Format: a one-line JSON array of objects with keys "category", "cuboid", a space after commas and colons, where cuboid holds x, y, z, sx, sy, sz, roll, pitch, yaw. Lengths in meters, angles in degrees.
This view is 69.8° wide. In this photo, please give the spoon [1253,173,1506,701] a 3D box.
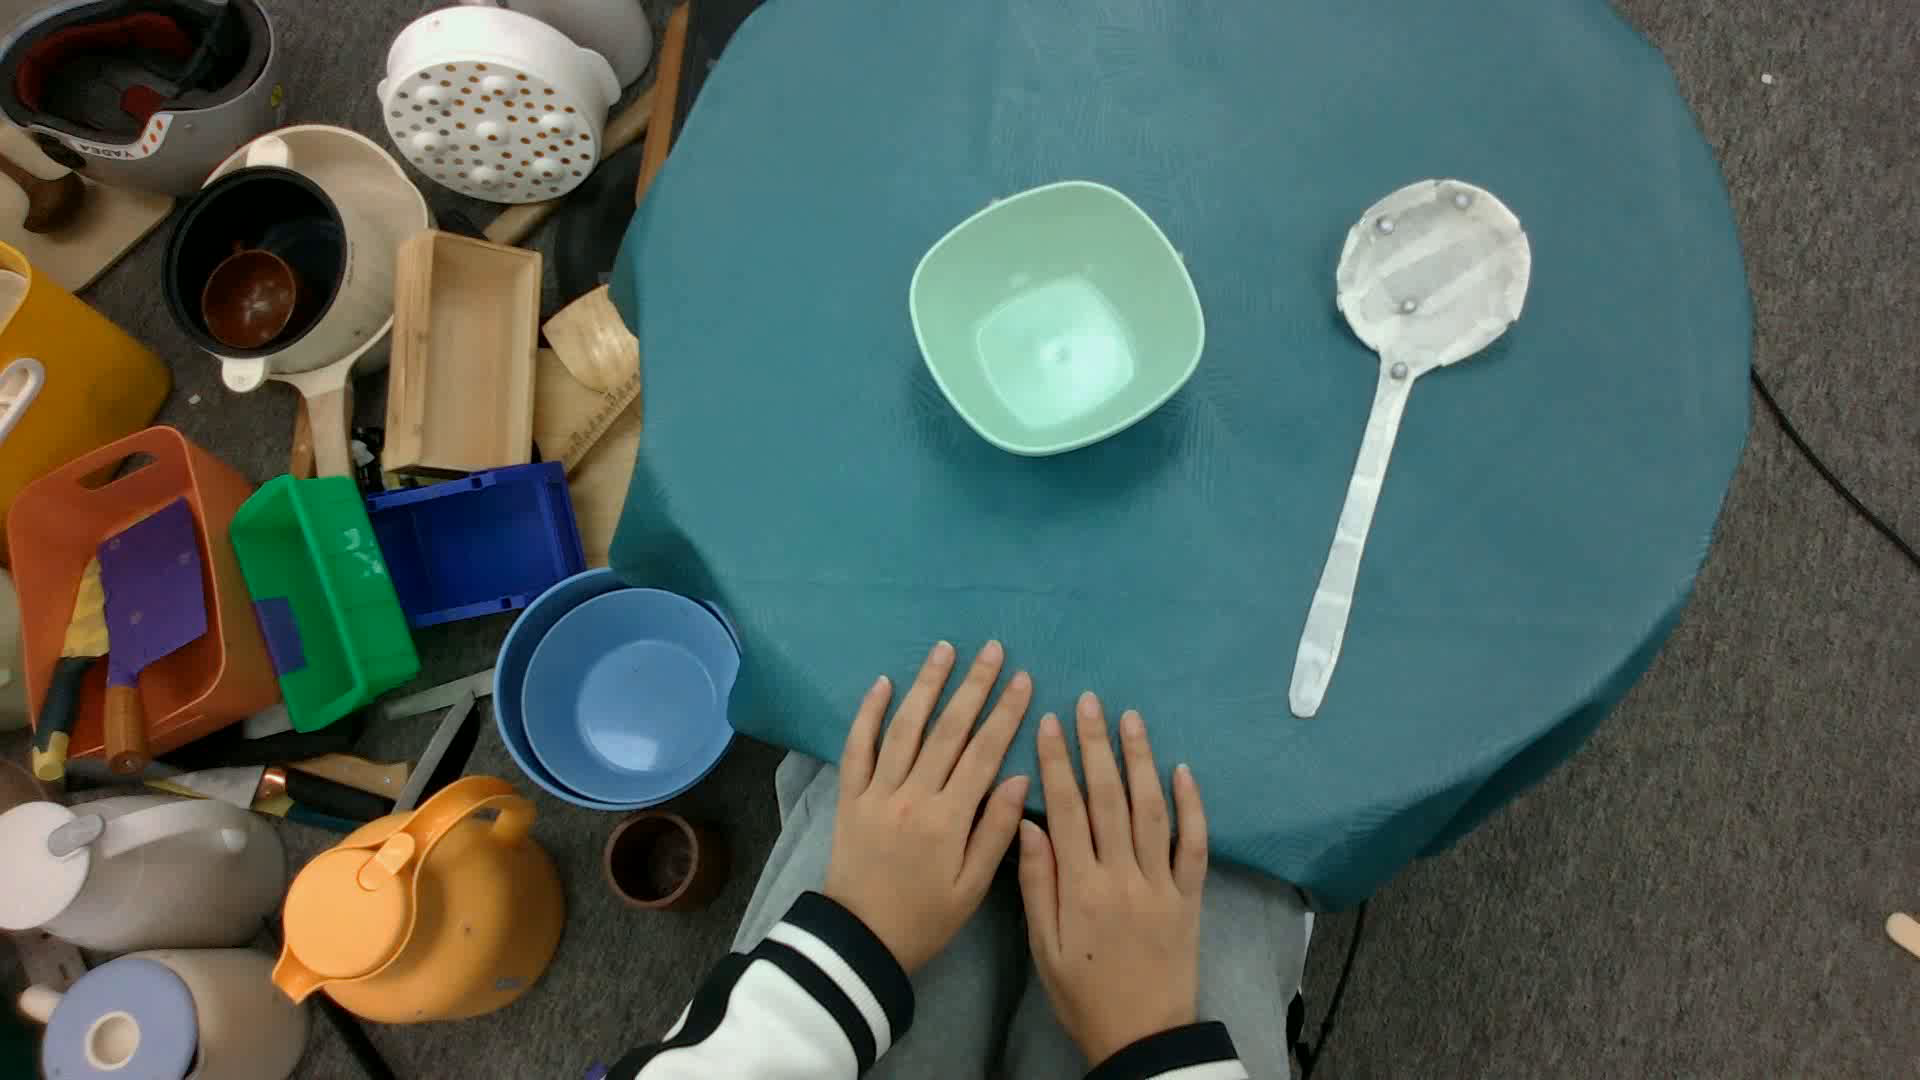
[{"category": "spoon", "cuboid": [0.194, -0.054, 0.692, 0.100, 0.059, 0.278, 19, 75, 13]}]

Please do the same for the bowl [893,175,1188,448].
[{"category": "bowl", "cuboid": [0.041, -0.110, 0.718, 0.151, 0.058, 0.152, -1, 74, 3]}]
